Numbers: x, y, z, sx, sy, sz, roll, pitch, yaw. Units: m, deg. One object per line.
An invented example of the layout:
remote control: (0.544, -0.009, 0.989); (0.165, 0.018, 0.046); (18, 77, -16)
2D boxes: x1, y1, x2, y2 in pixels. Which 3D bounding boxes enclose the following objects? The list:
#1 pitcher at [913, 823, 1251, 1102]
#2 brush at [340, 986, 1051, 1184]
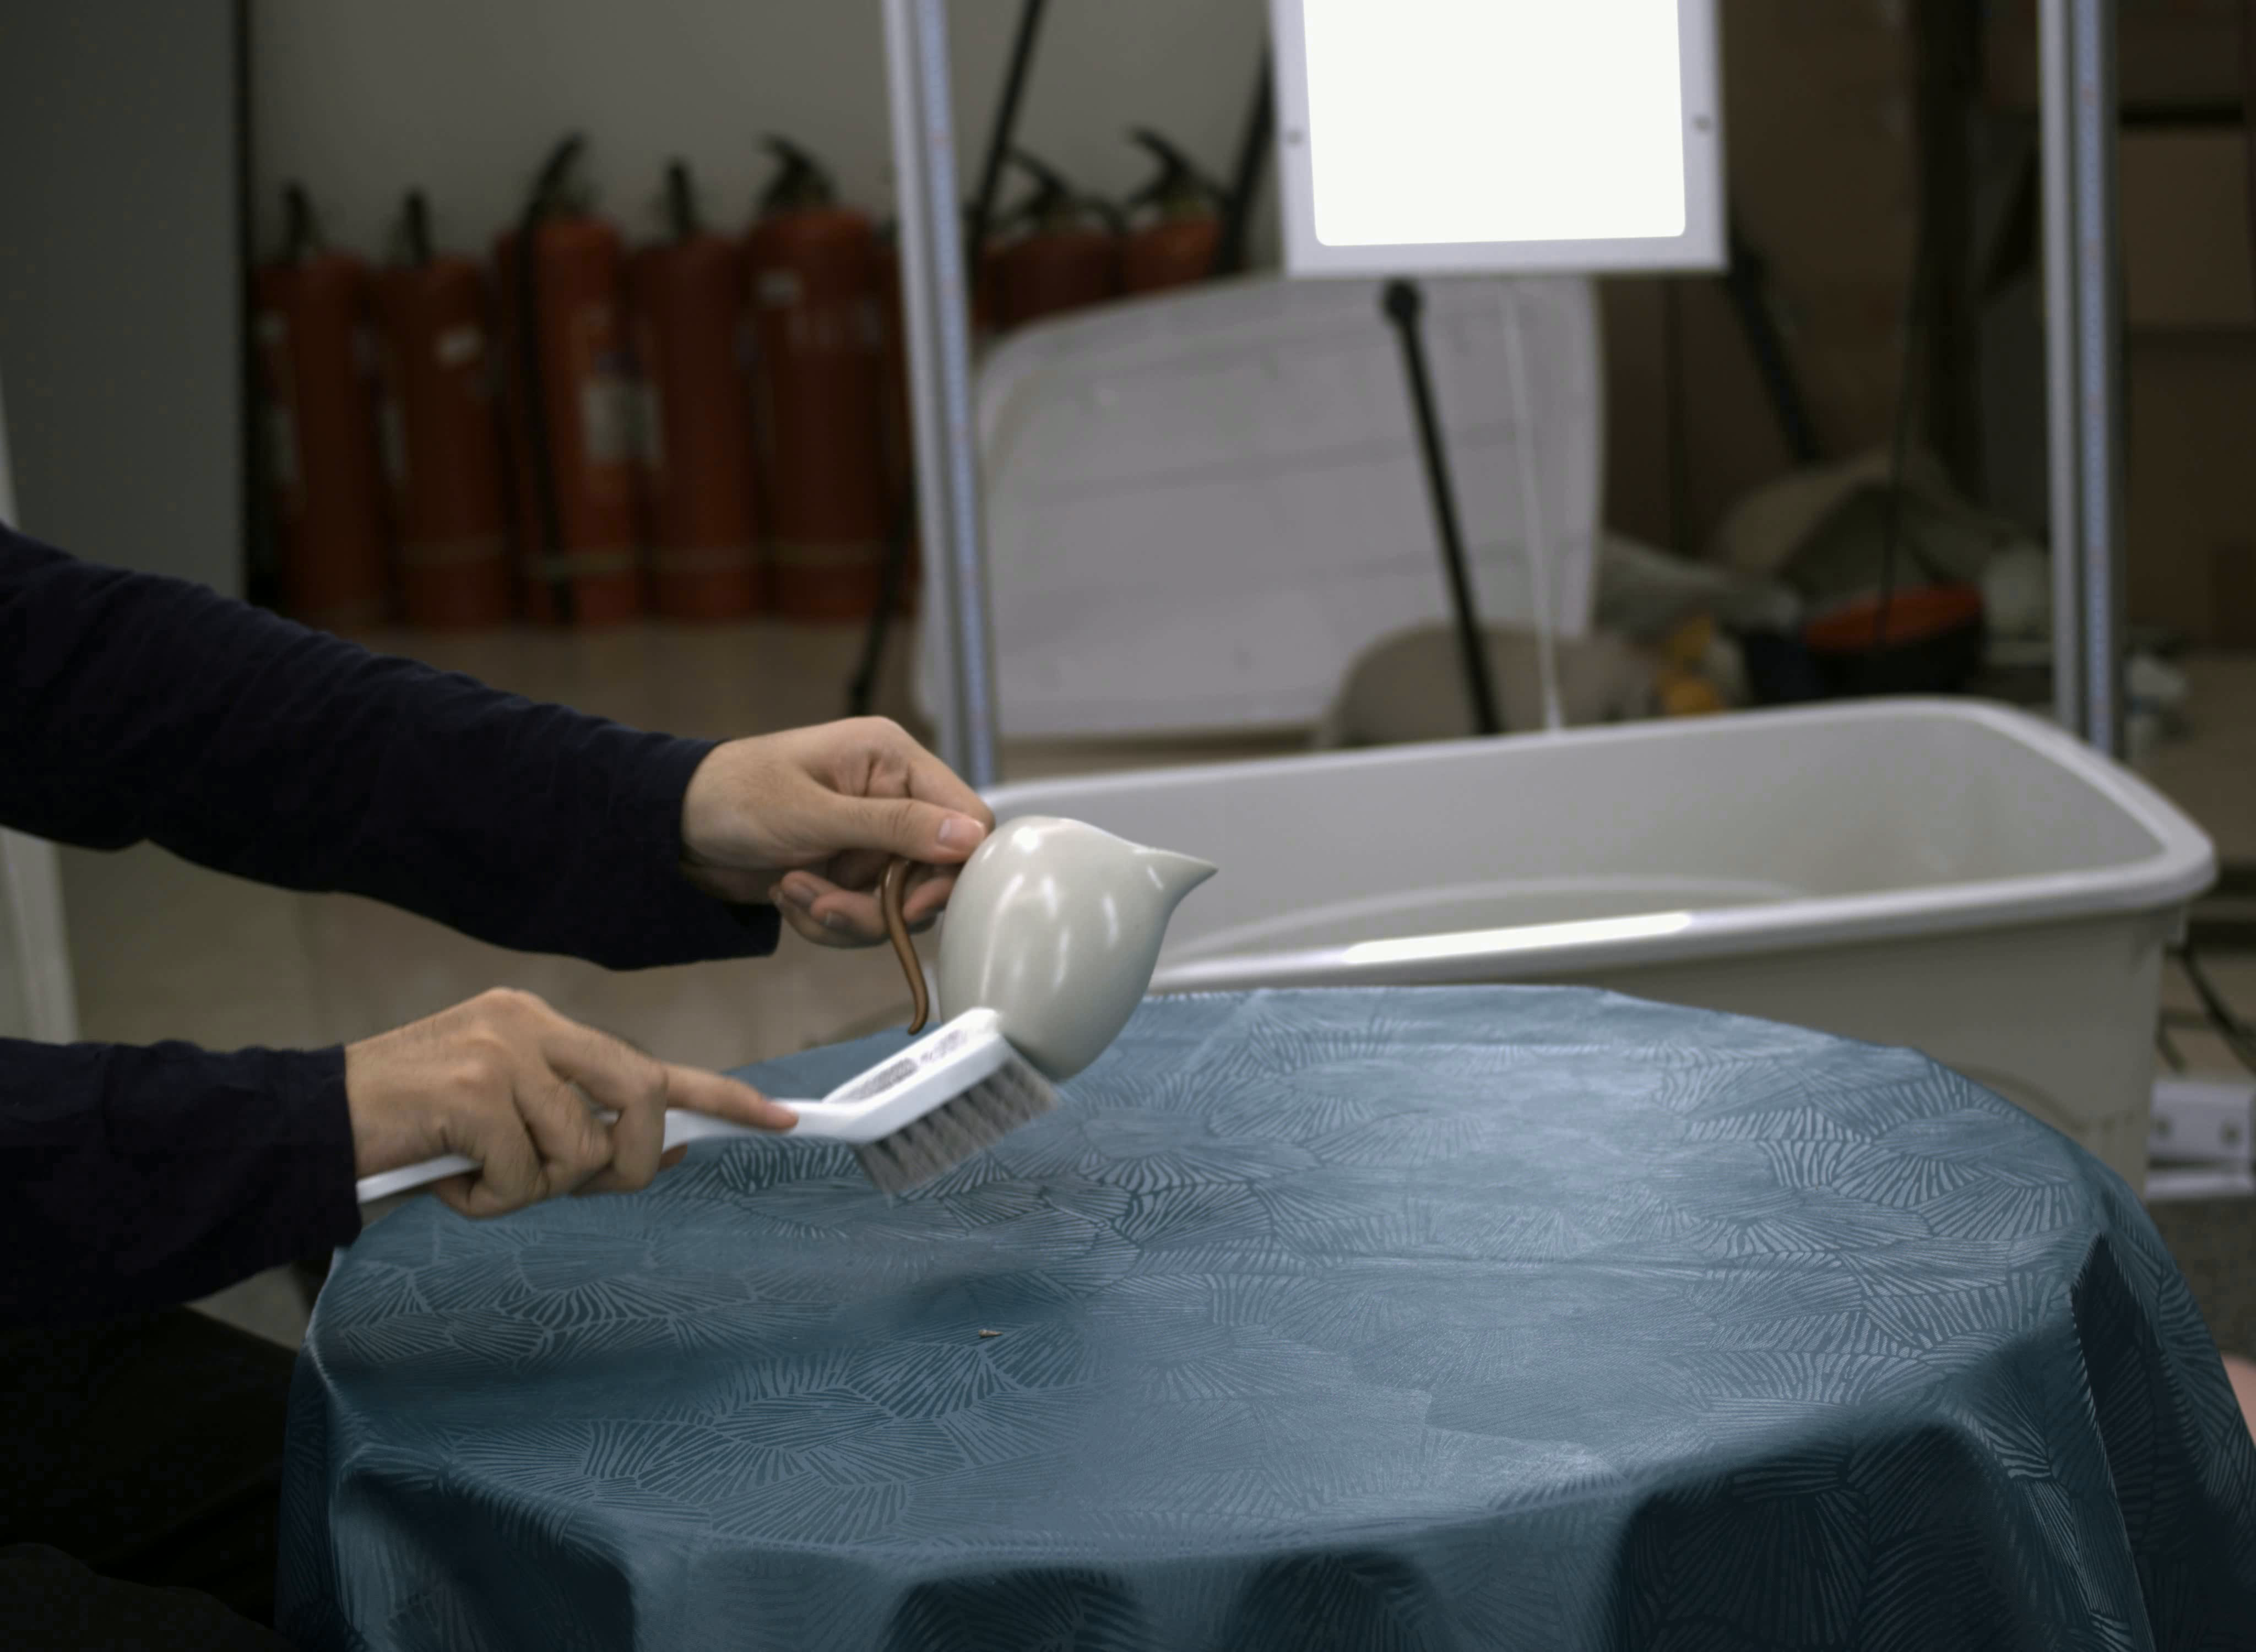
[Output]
pitcher: (-0.027, 0.045, 1.901); (0.121, 0.087, 0.075); (14, -23, 25)
brush: (-0.138, 0.101, 1.793); (0.239, 0.050, 0.035); (-14, 17, -22)
